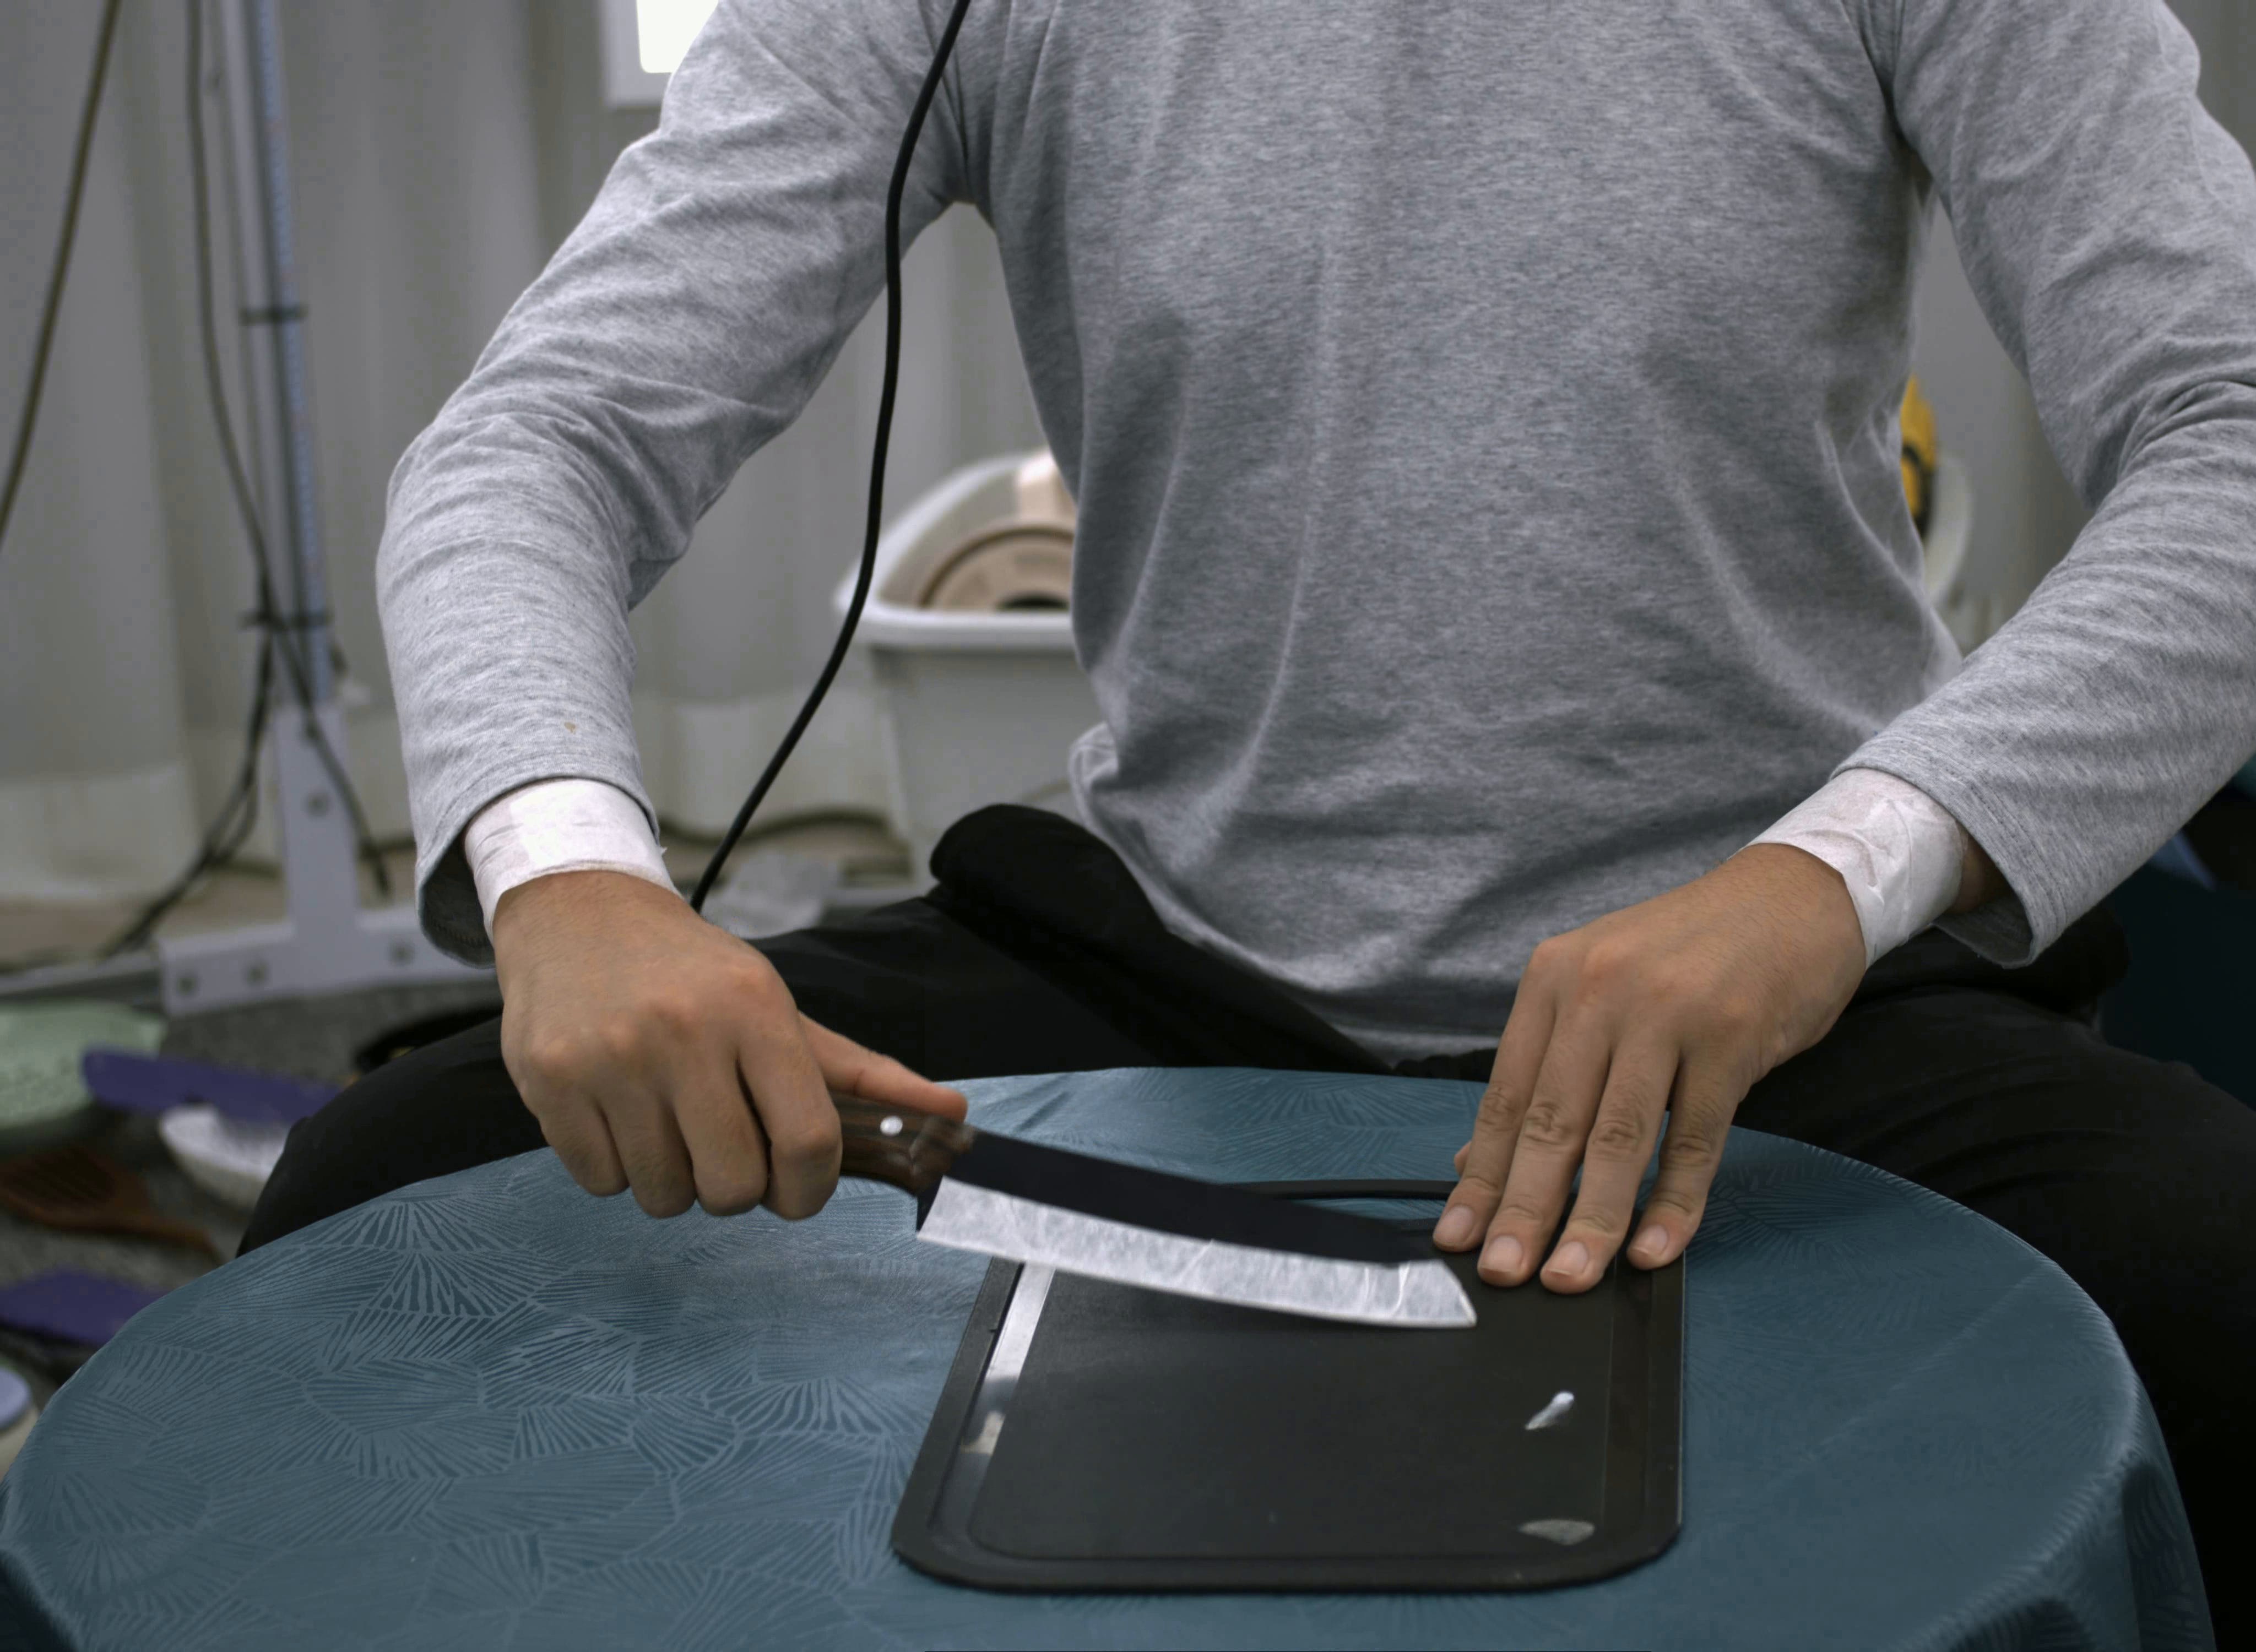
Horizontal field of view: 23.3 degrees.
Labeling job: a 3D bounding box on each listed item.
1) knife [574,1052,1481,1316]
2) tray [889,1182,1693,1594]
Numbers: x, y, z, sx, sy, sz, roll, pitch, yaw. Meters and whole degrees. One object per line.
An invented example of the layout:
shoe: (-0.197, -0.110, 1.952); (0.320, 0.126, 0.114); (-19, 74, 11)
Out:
knife: (-0.033, 0.107, 1.617); (0.289, 0.020, 0.051); (12, 49, 15)
tray: (0.053, 0.153, 1.553); (0.210, 0.010, 0.327); (-1, 15, 7)
